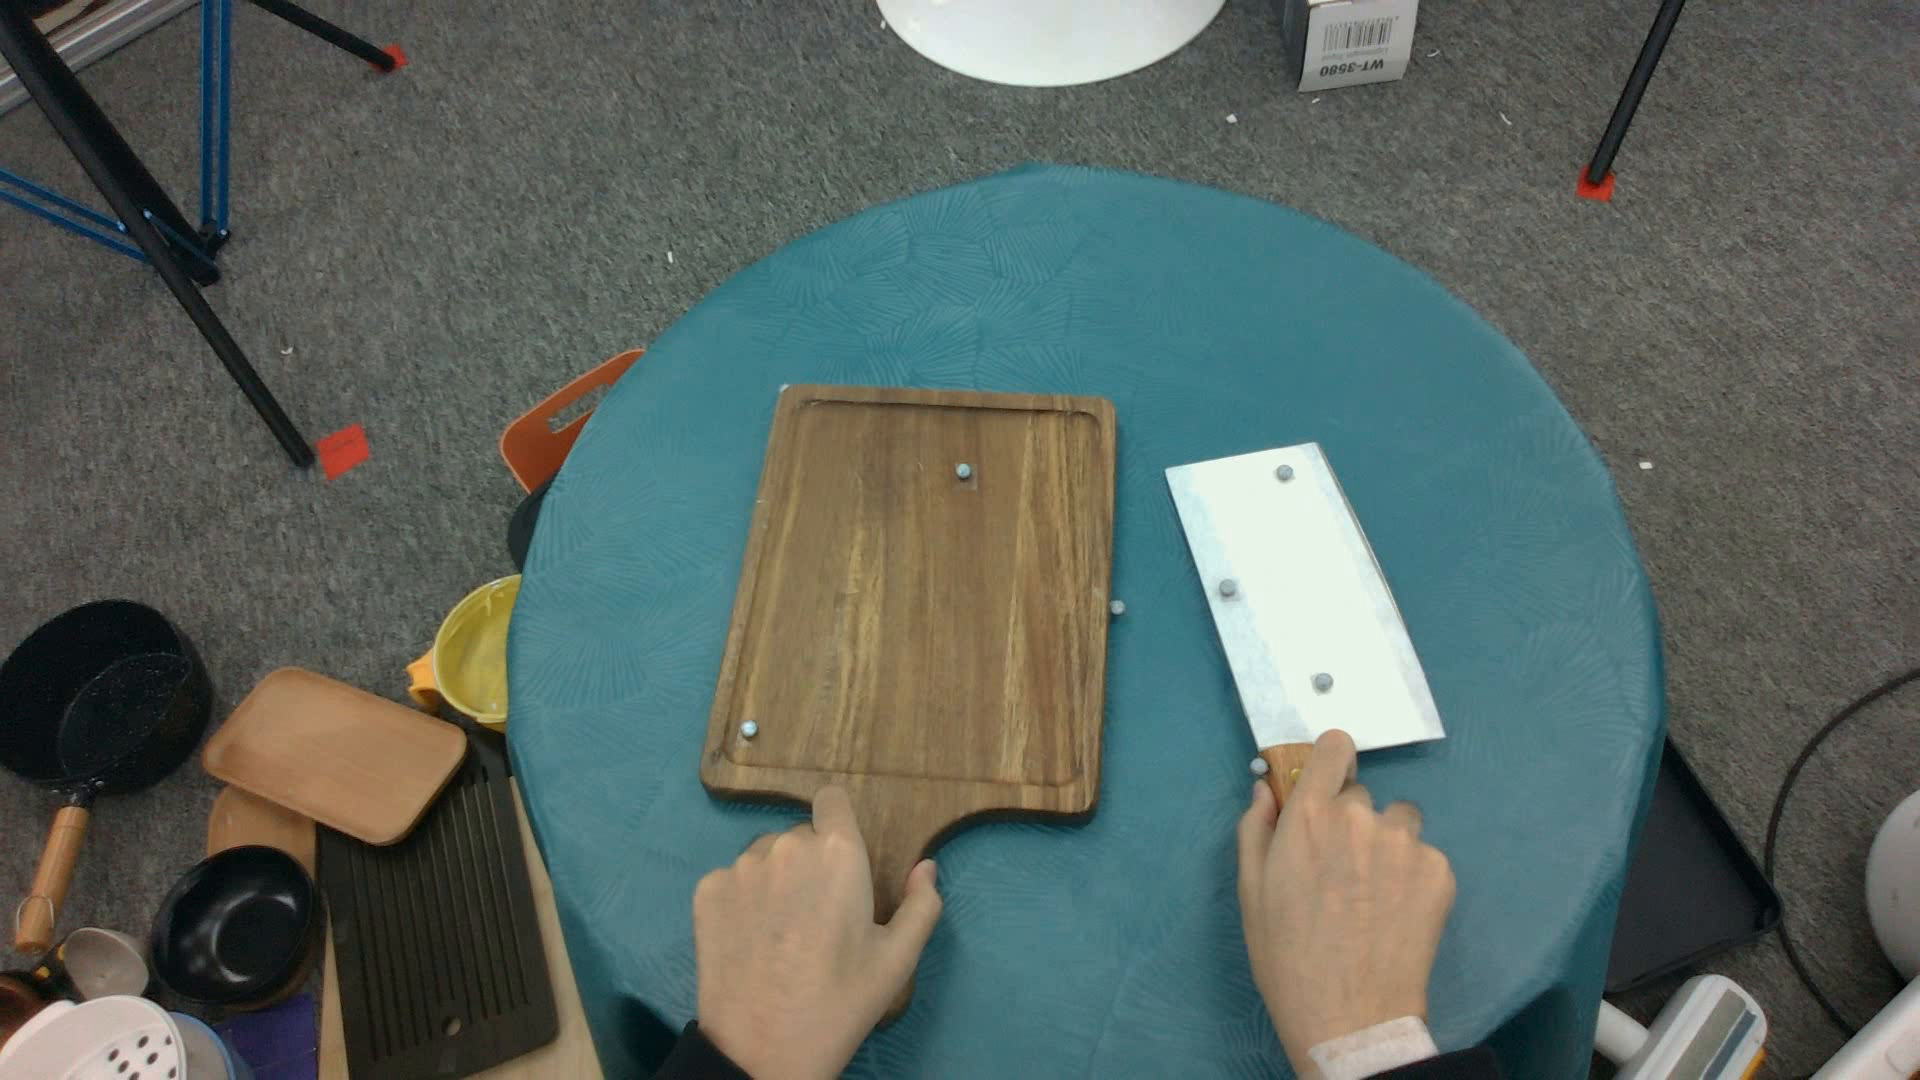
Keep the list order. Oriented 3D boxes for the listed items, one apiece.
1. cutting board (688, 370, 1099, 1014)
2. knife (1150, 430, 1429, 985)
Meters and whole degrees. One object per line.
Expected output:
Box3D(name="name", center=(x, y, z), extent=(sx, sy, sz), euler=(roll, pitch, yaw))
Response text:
Box3D(name="cutting board", center=(-0.031, 0.057, 0.701), extent=(0.201, 0.023, 0.353), euler=(2, 59, 5))
Box3D(name="knife", center=(0.176, 0.063, 0.682), extent=(0.093, 0.021, 0.307), euler=(-10, 54, -4))
